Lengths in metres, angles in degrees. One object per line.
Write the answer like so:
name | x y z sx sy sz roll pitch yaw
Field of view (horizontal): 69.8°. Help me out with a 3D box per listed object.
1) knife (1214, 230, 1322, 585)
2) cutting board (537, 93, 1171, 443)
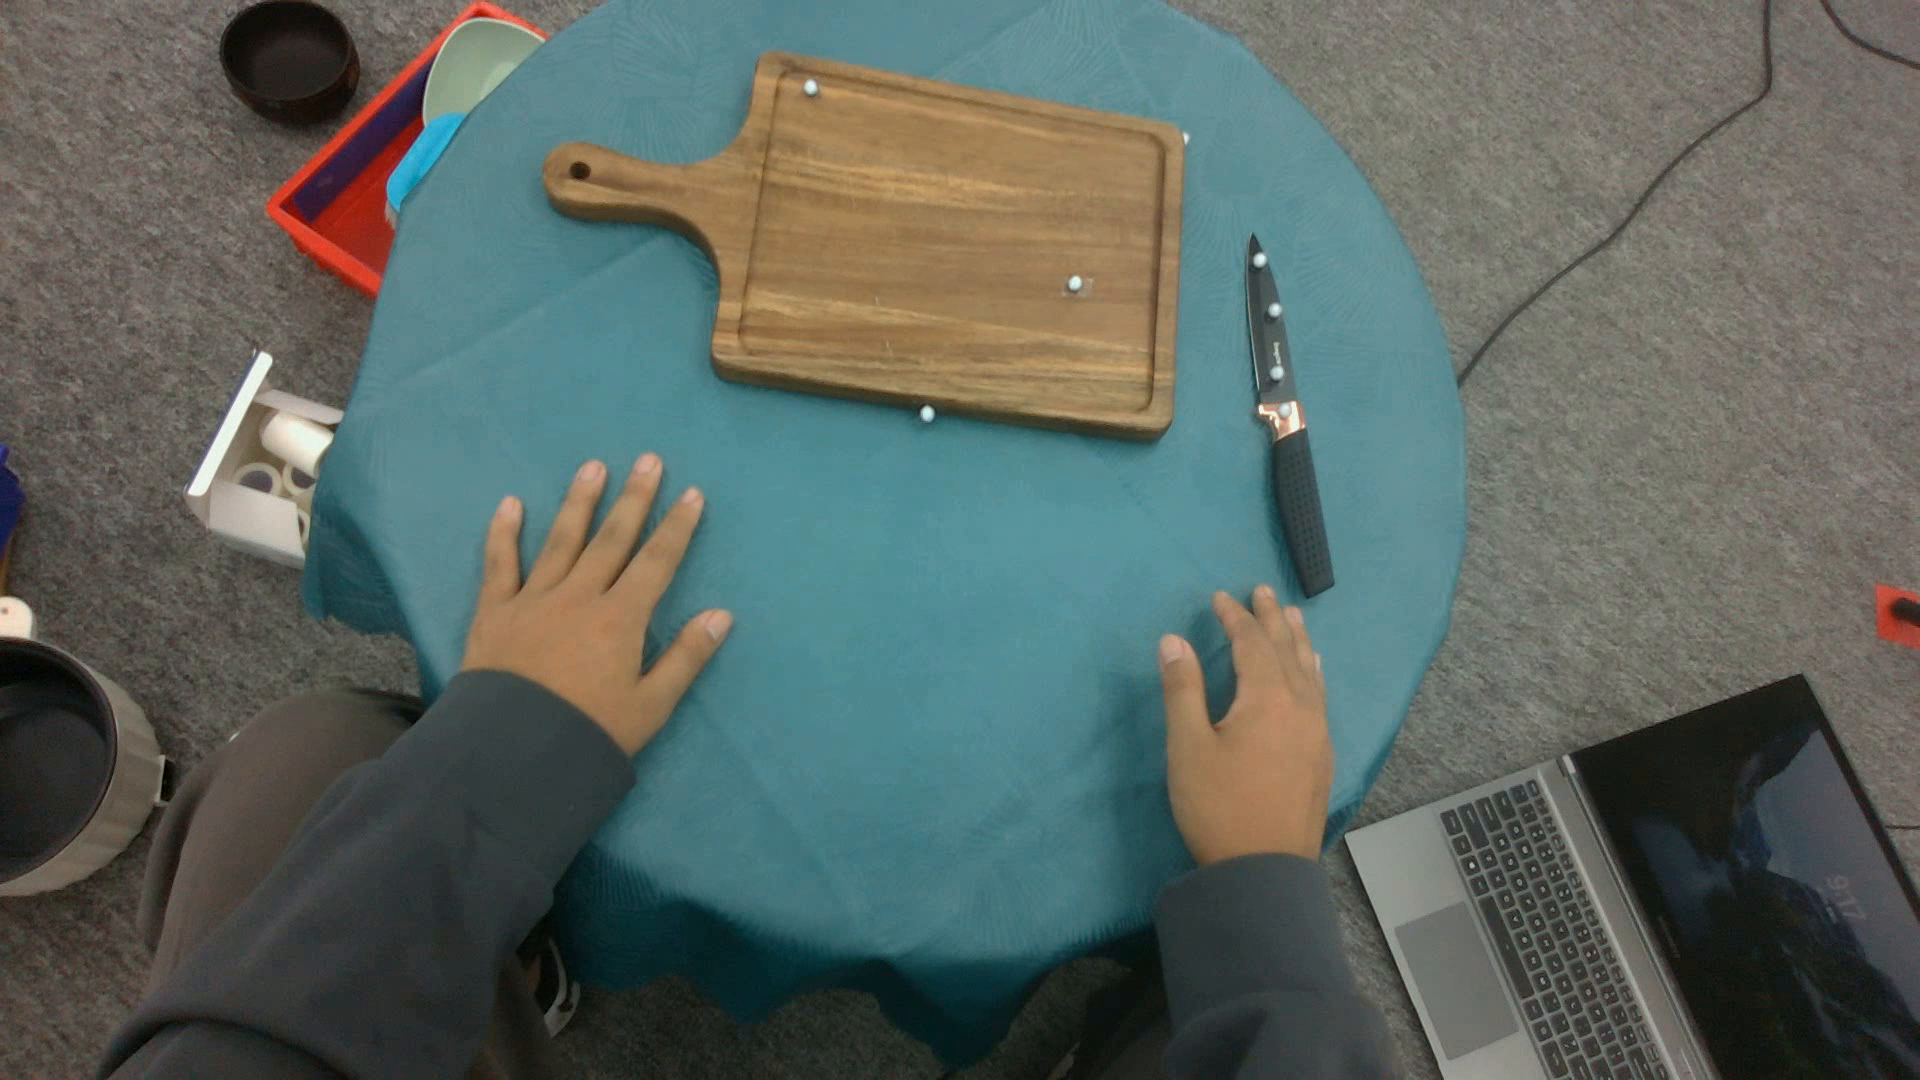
knife | 0.174 -0.081 0.784 0.026 0.017 0.226 -6 70 -3
cutting board | -0.056 -0.159 0.774 0.352 0.023 0.201 4 69 -7
